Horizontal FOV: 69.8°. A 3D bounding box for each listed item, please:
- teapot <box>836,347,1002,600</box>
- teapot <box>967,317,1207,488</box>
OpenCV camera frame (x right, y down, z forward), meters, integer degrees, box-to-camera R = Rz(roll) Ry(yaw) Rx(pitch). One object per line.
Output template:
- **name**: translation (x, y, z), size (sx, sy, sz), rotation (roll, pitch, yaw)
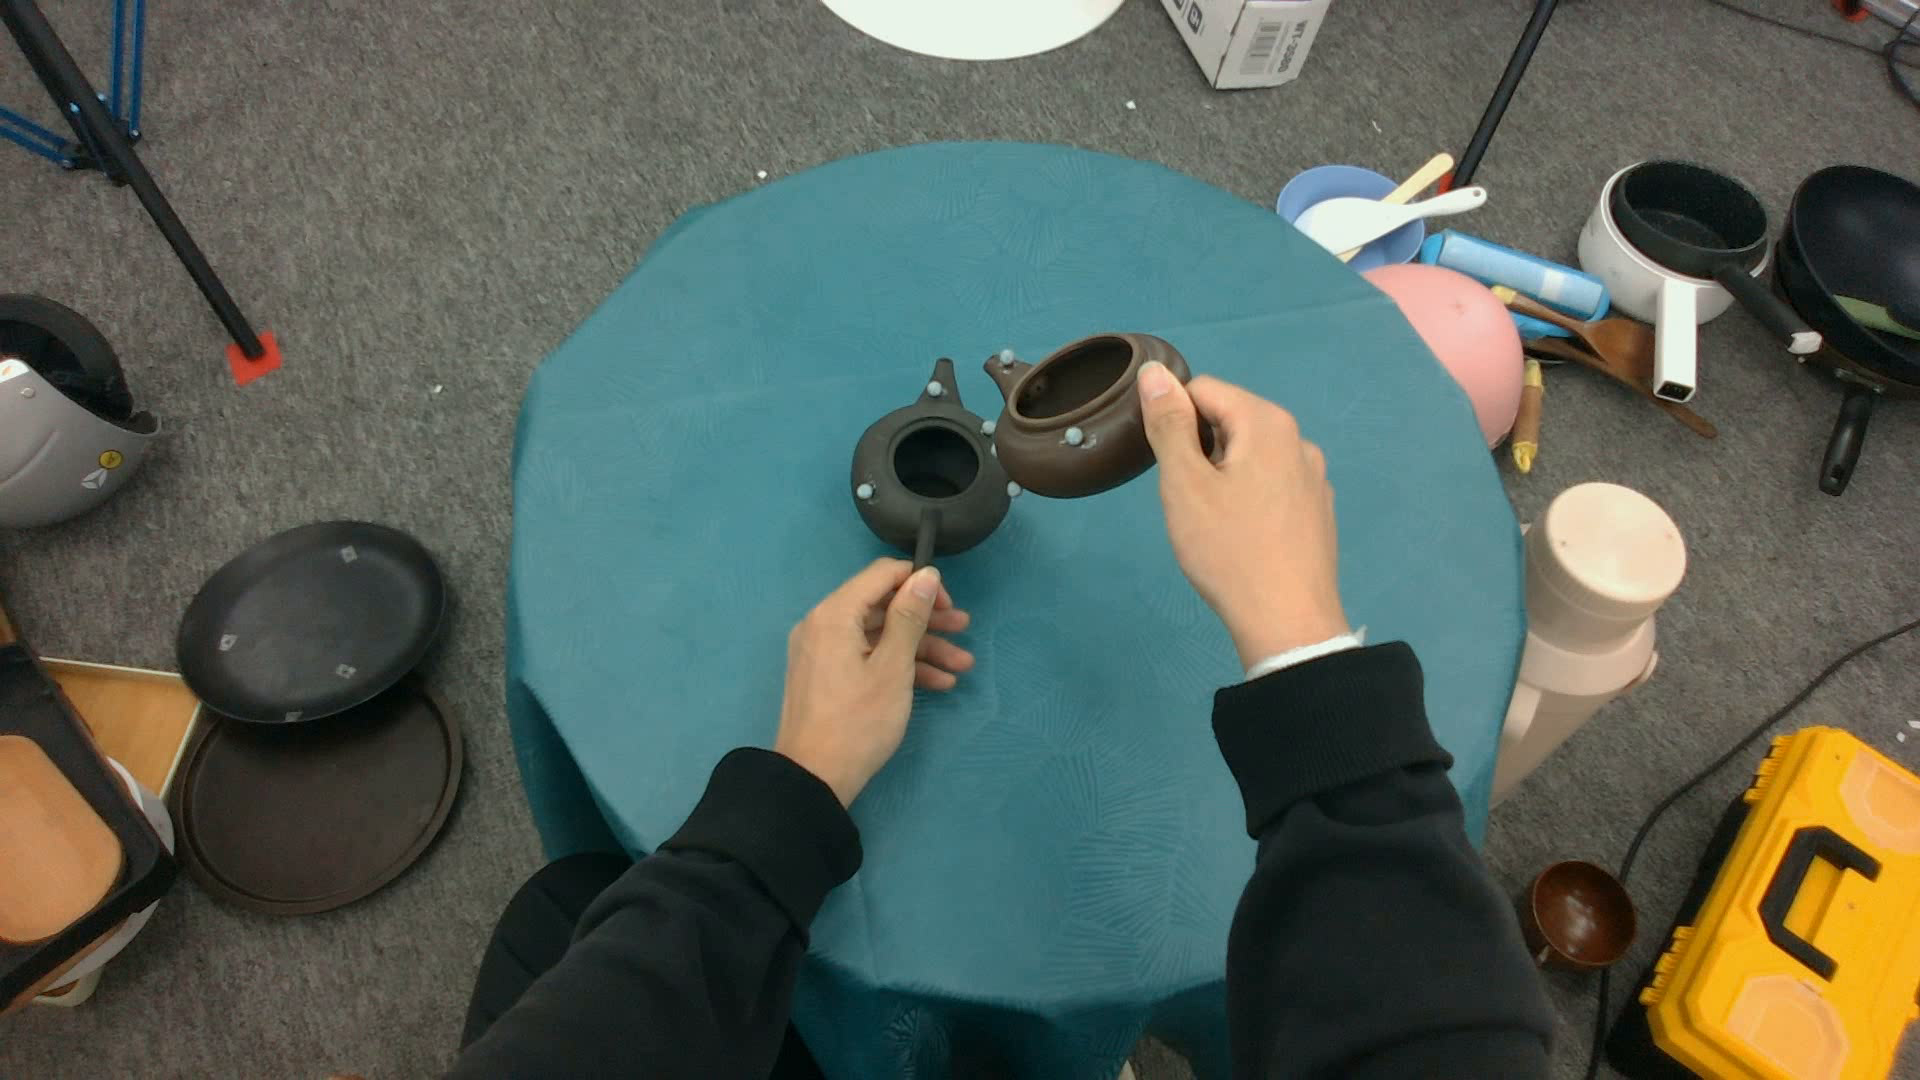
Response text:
- **teapot**: translation (-0.023, -0.036, 0.771), size (0.092, 0.064, 0.155), rotation (7, 61, -2)
- **teapot**: translation (0.061, -0.069, 0.668), size (0.153, 0.054, 0.103), rotation (11, 54, 52)
